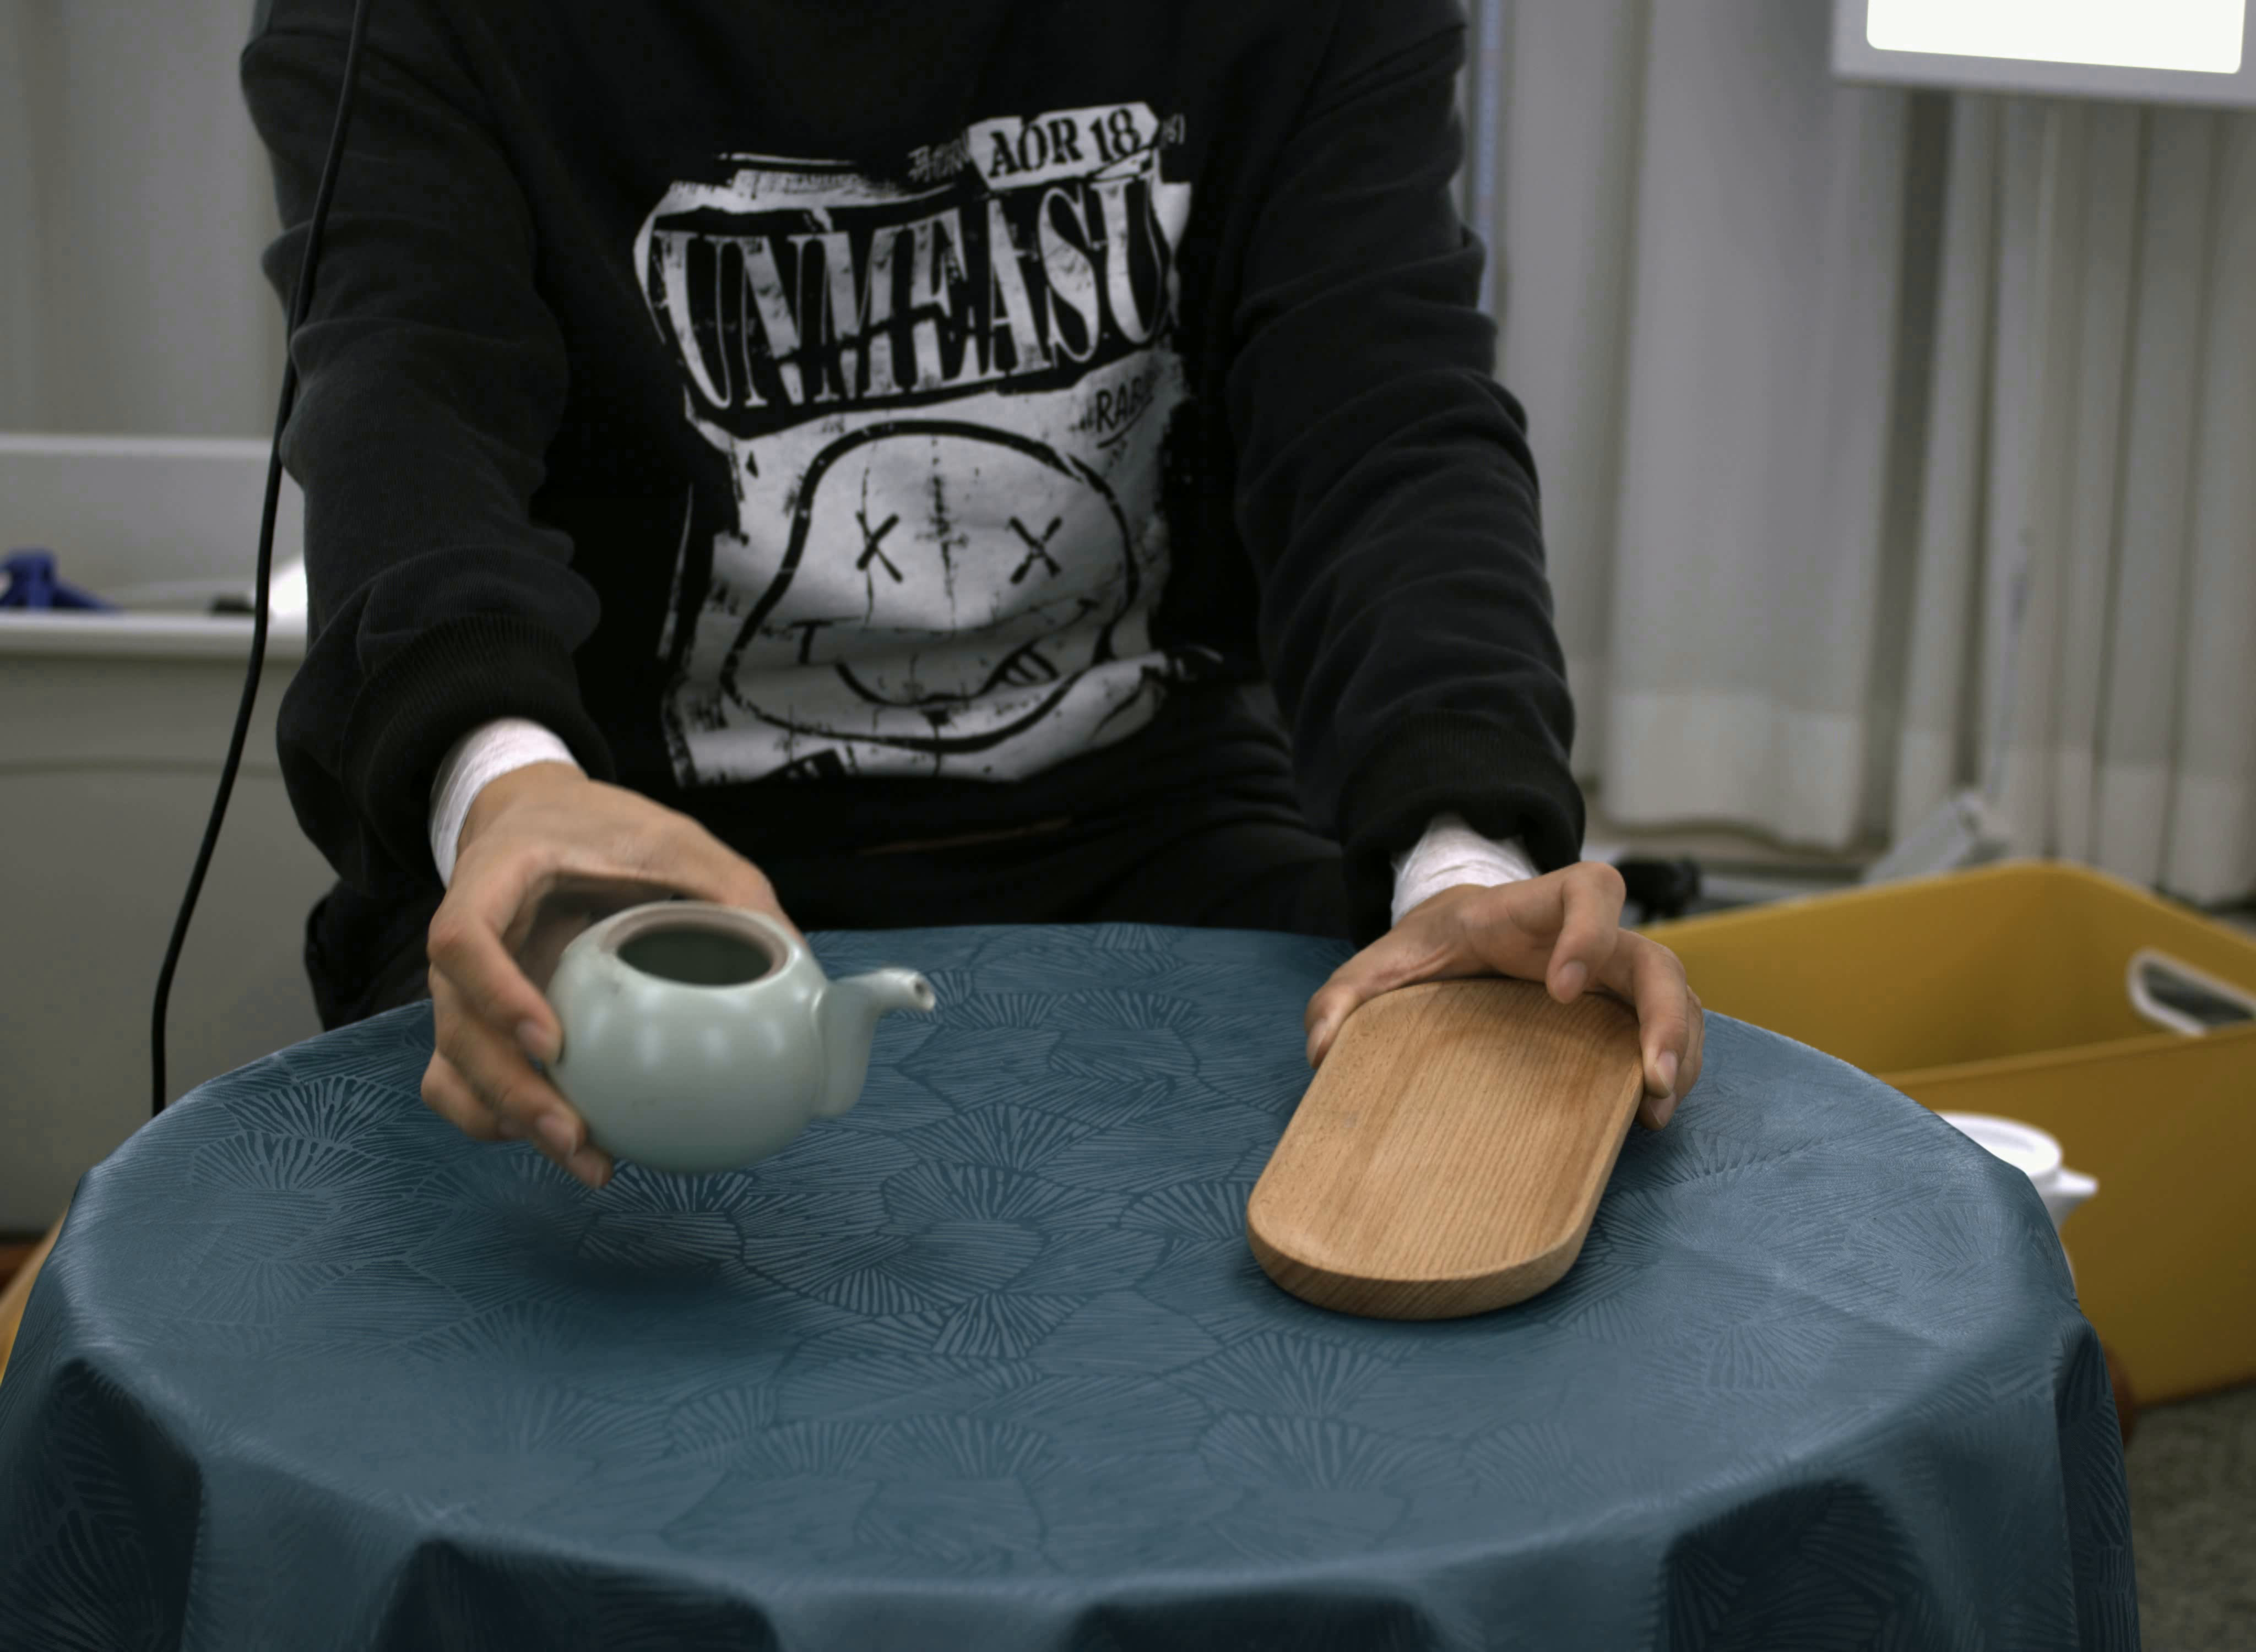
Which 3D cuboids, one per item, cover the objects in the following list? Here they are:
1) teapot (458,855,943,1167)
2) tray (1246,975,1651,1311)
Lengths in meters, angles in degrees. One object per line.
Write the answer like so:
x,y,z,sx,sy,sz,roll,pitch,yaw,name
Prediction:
-0.127,0.057,1.532,0.143,0.075,0.088,16,25,8,teapot
0.101,0.095,1.619,0.101,0.020,0.230,6,20,12,tray
